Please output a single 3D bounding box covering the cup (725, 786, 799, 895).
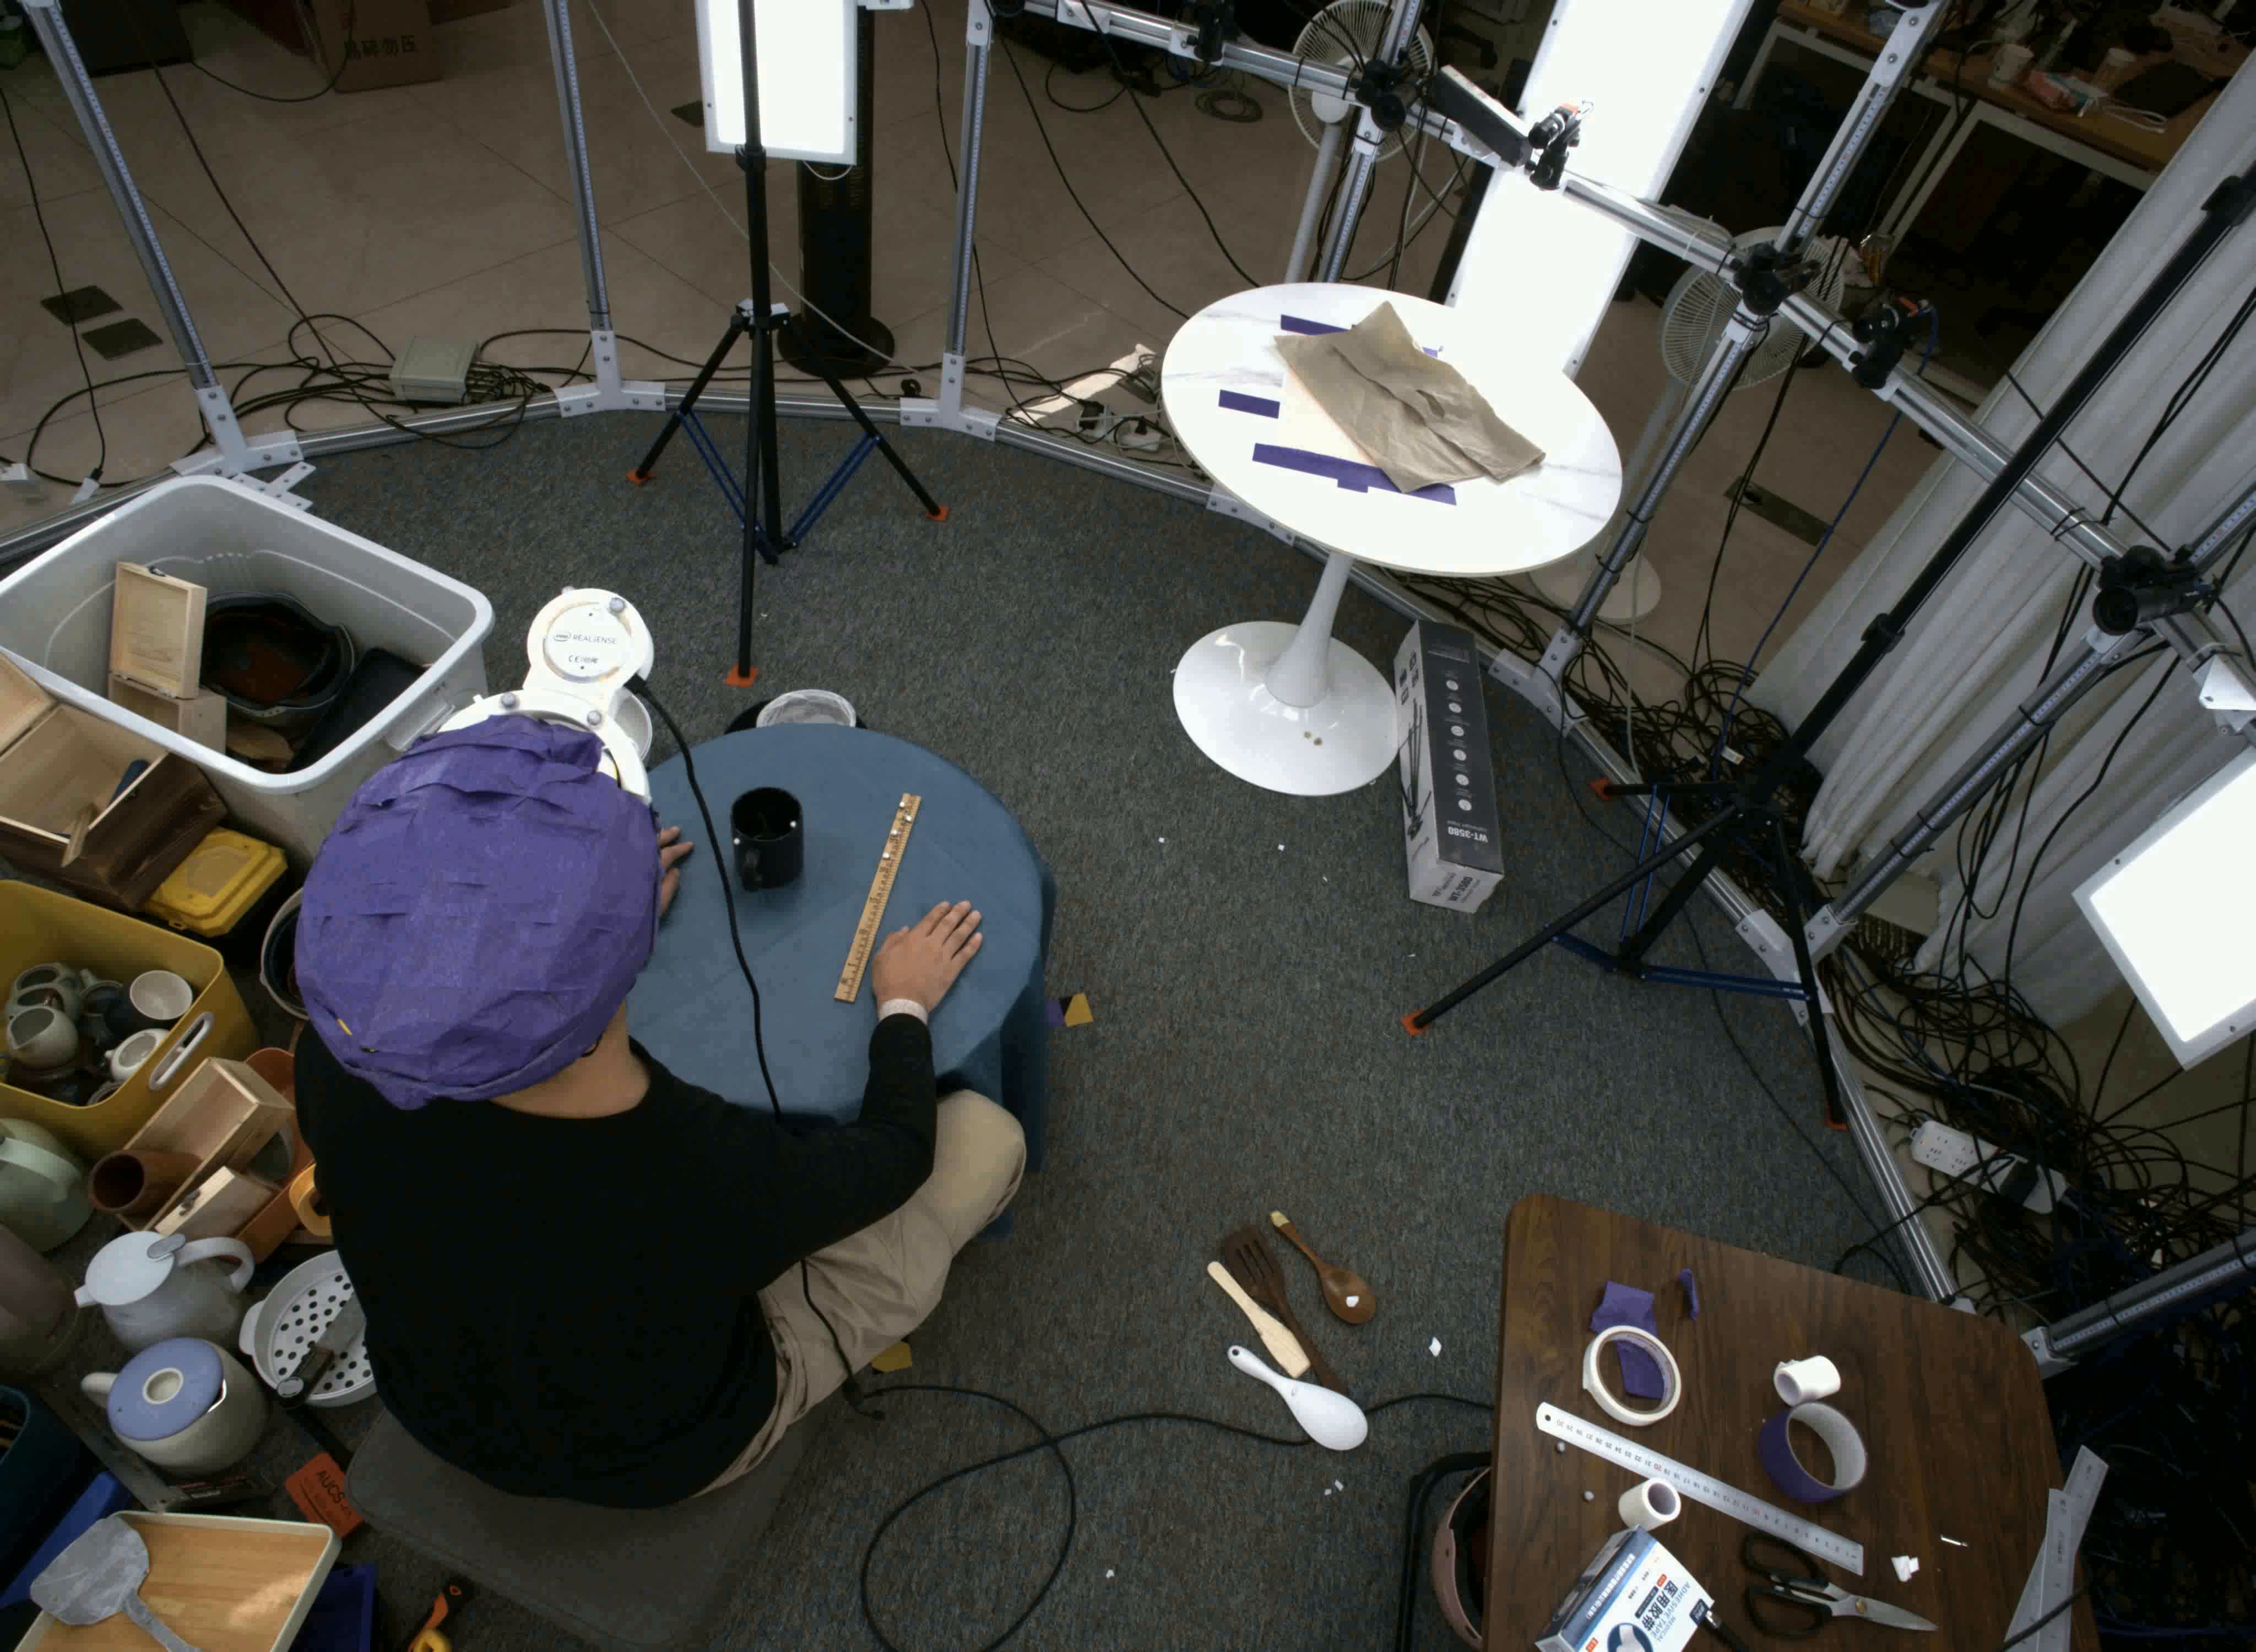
[{"bbox_3d":[-0.464,0.028,1.621,0.088,0.107,0.122,15,52,-3],"label":"cup"}]

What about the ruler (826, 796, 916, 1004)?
[{"bbox_3d":[-0.327,0.084,1.675,0.027,0.023,0.327,11,51,1],"label":"ruler"}]
